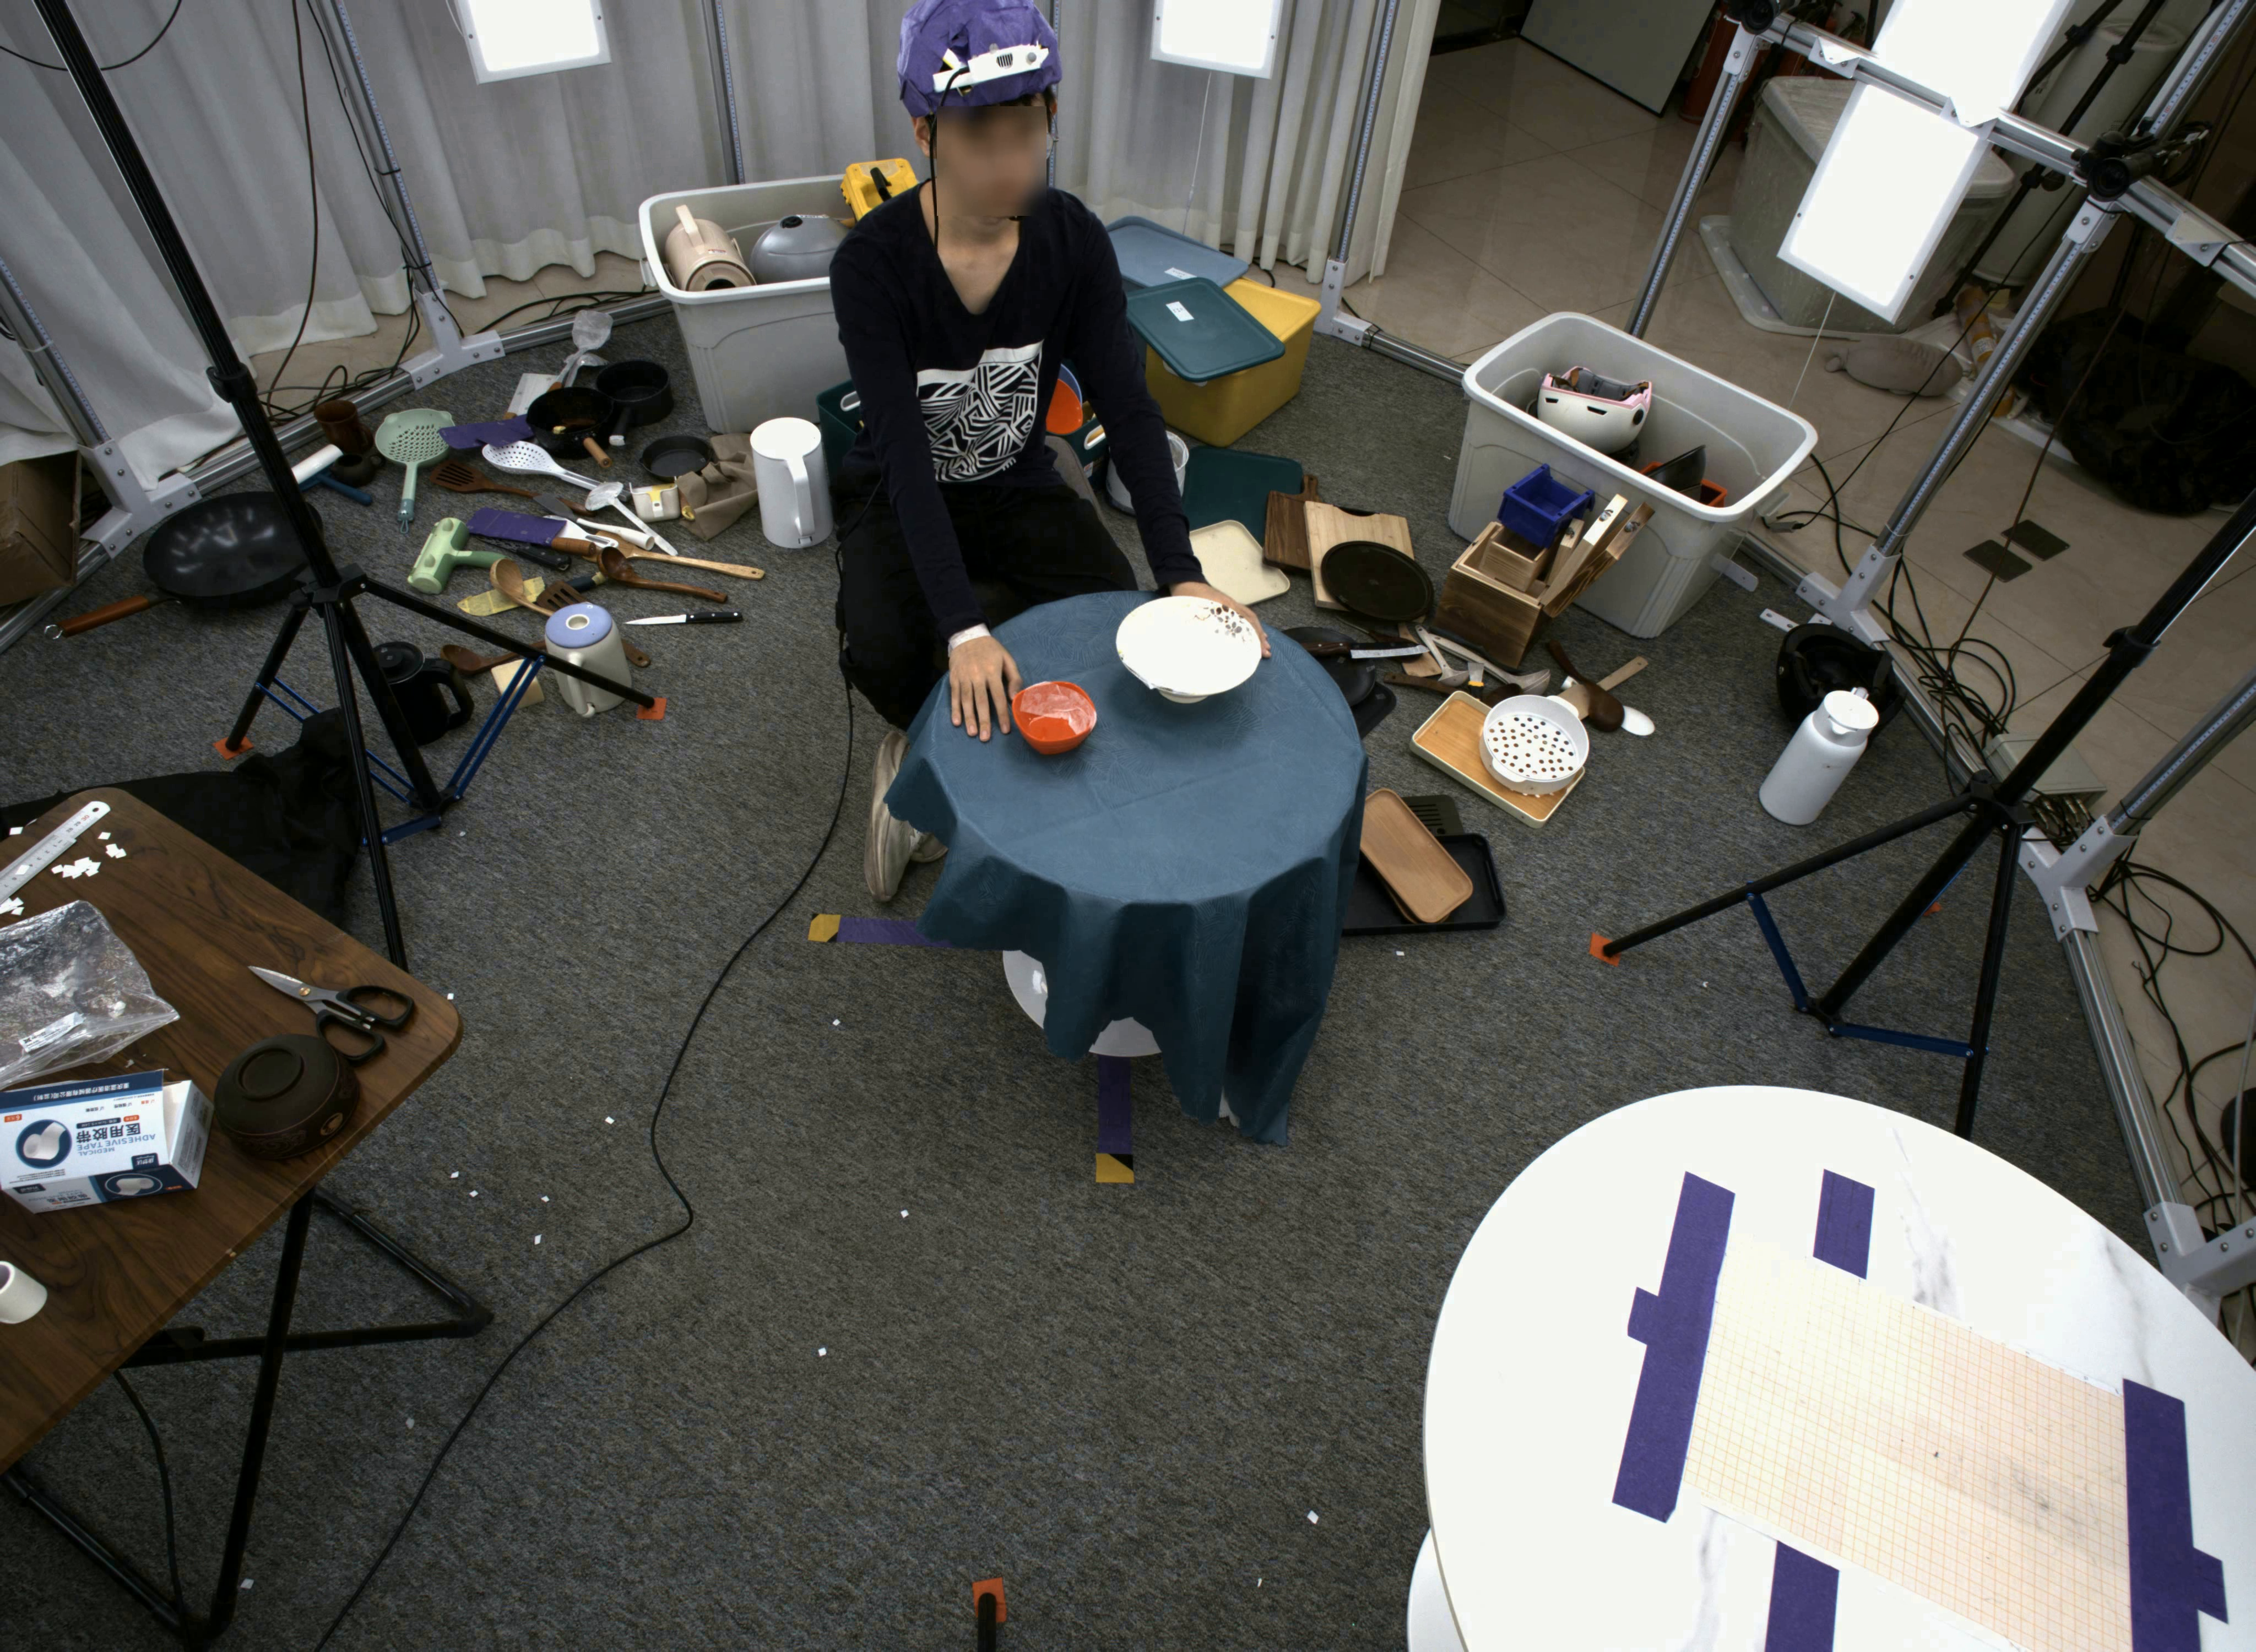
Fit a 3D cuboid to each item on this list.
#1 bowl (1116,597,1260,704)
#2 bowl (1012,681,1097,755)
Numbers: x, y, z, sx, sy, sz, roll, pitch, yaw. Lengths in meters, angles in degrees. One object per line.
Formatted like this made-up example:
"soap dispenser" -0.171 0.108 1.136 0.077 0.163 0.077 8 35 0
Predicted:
"bowl" 0.082 -0.231 1.824 0.204 0.076 0.209 2 48 -3
"bowl" -0.101 -0.141 1.750 0.119 0.050 0.122 1 50 -2
